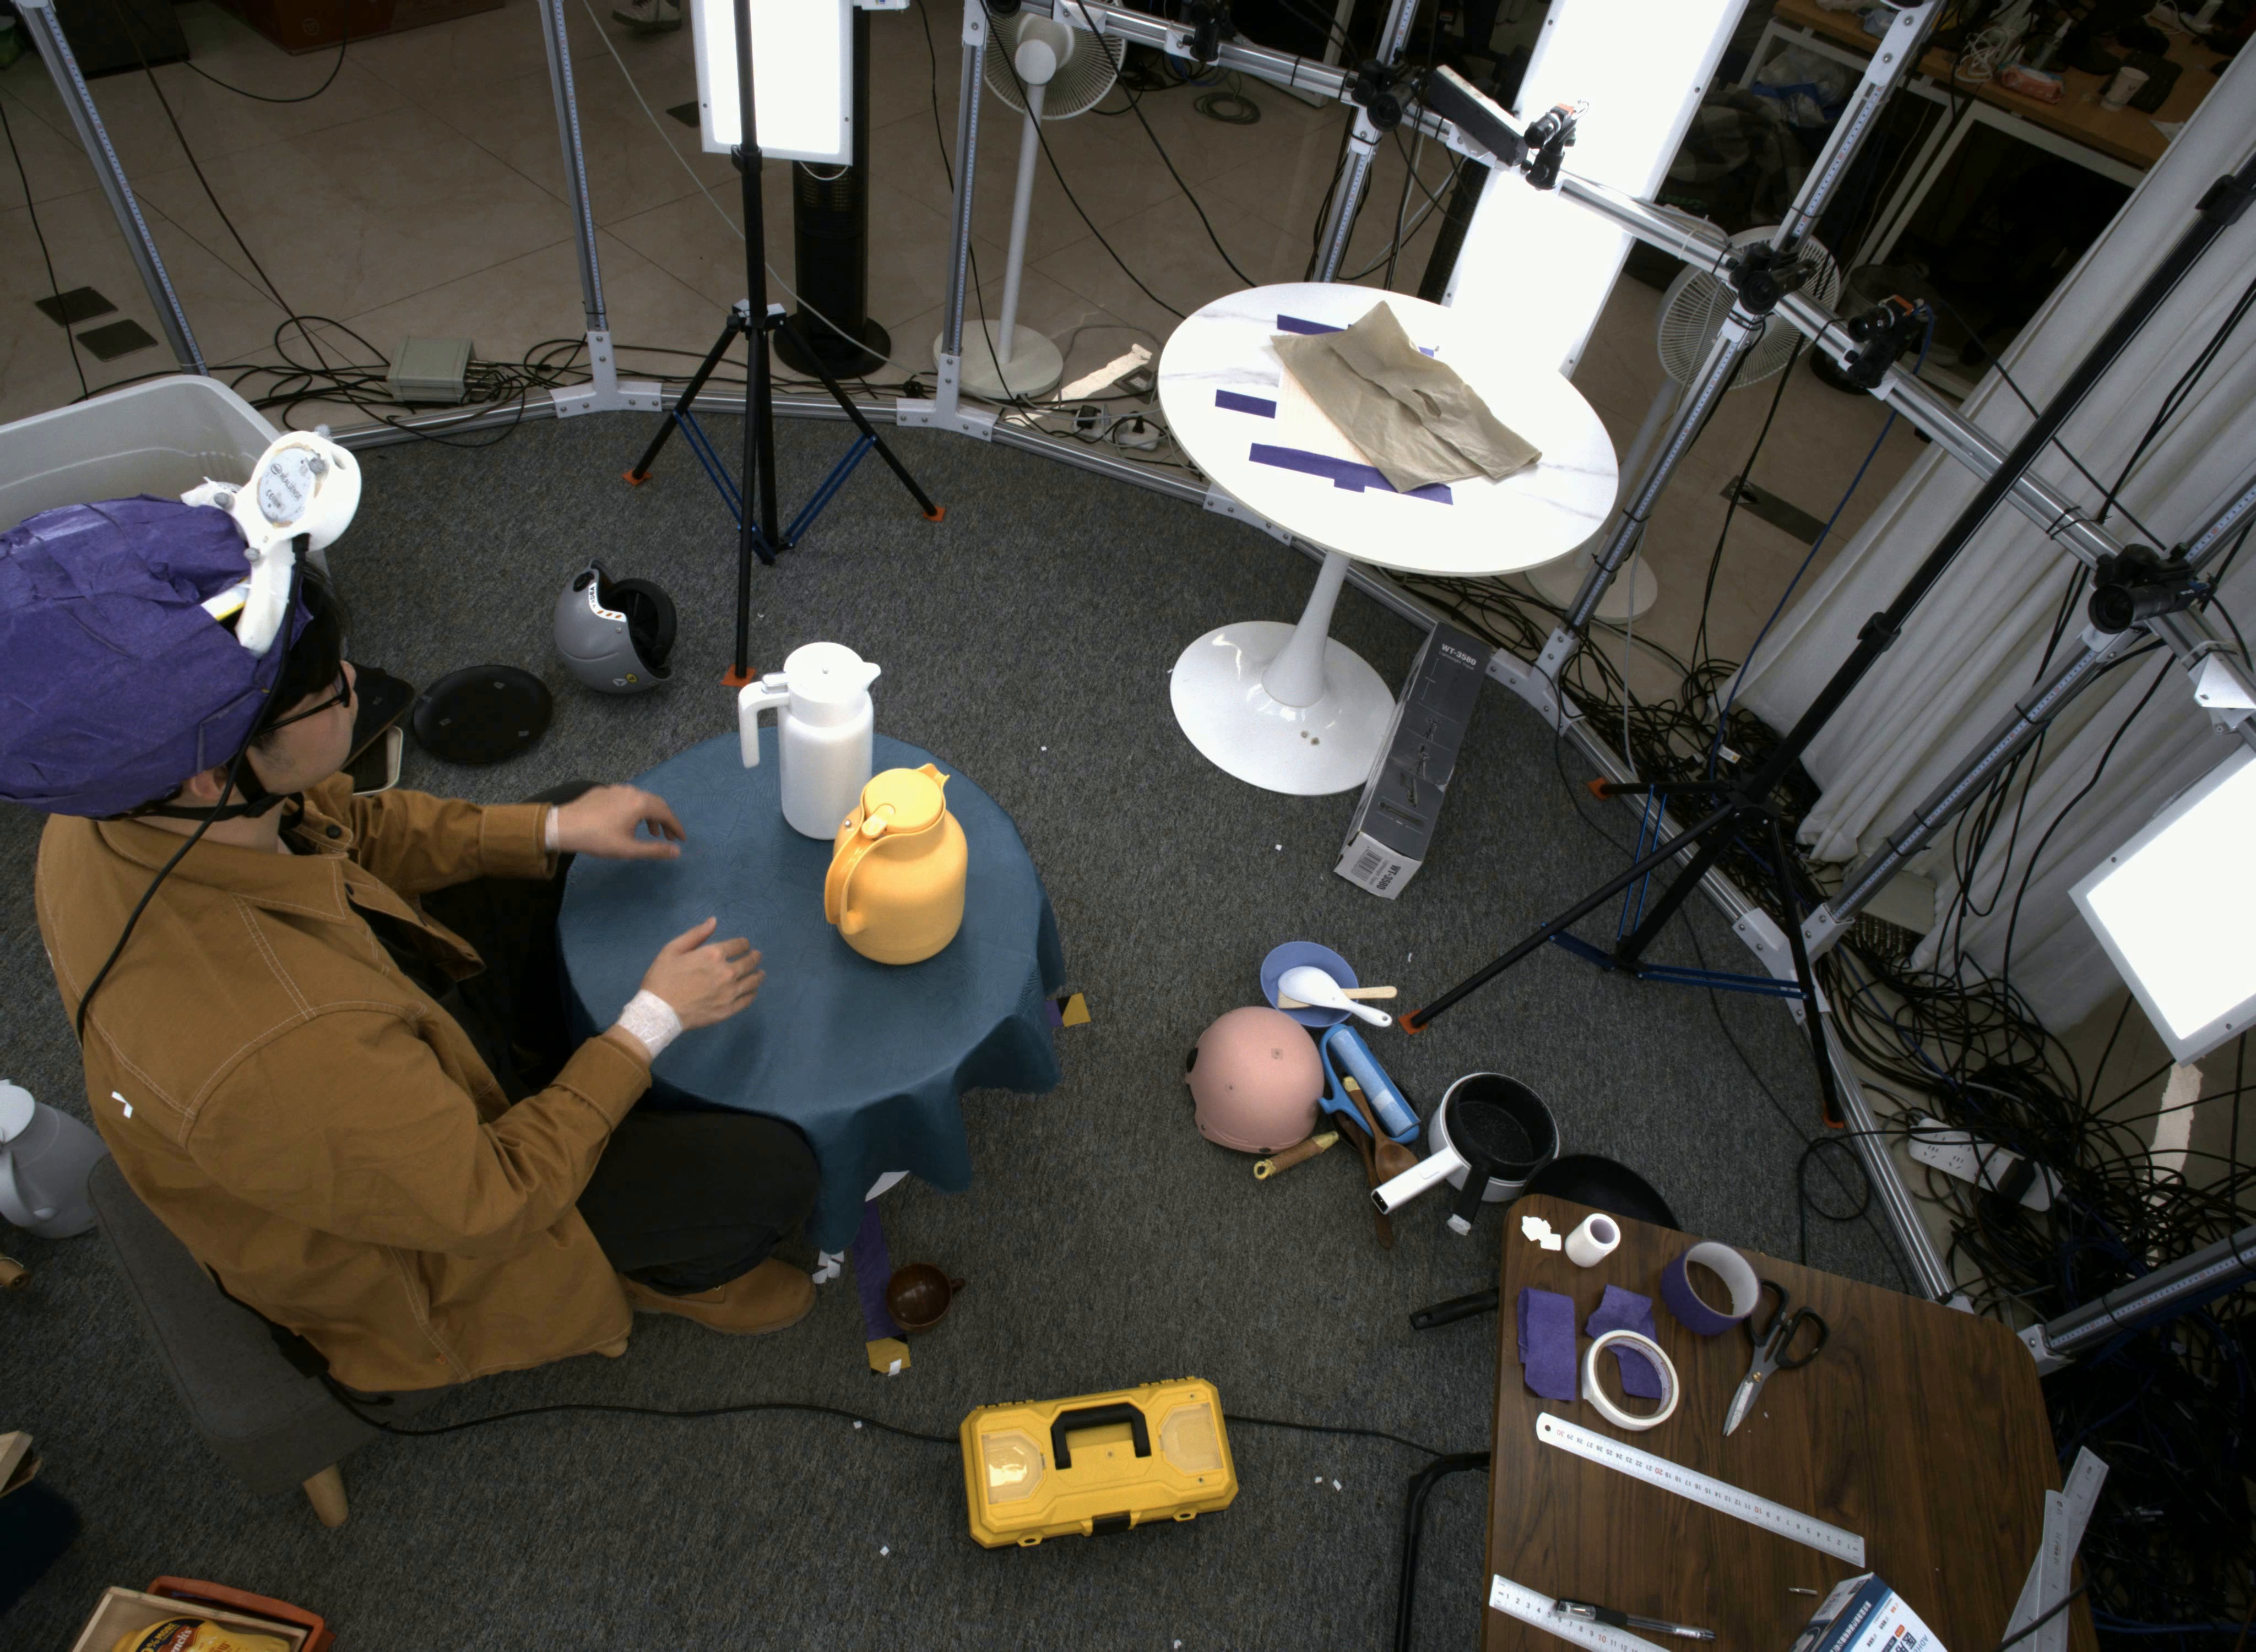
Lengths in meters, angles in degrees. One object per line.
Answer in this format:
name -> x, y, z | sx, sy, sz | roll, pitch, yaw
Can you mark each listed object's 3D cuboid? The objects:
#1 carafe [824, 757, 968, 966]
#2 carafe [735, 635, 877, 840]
carafe -> -0.285, 0.049, 1.551 | 0.159, 0.267, 0.202 | 32, 51, 17
carafe -> -0.401, -0.104, 1.632 | 0.173, 0.274, 0.121 | -13, 58, -21
